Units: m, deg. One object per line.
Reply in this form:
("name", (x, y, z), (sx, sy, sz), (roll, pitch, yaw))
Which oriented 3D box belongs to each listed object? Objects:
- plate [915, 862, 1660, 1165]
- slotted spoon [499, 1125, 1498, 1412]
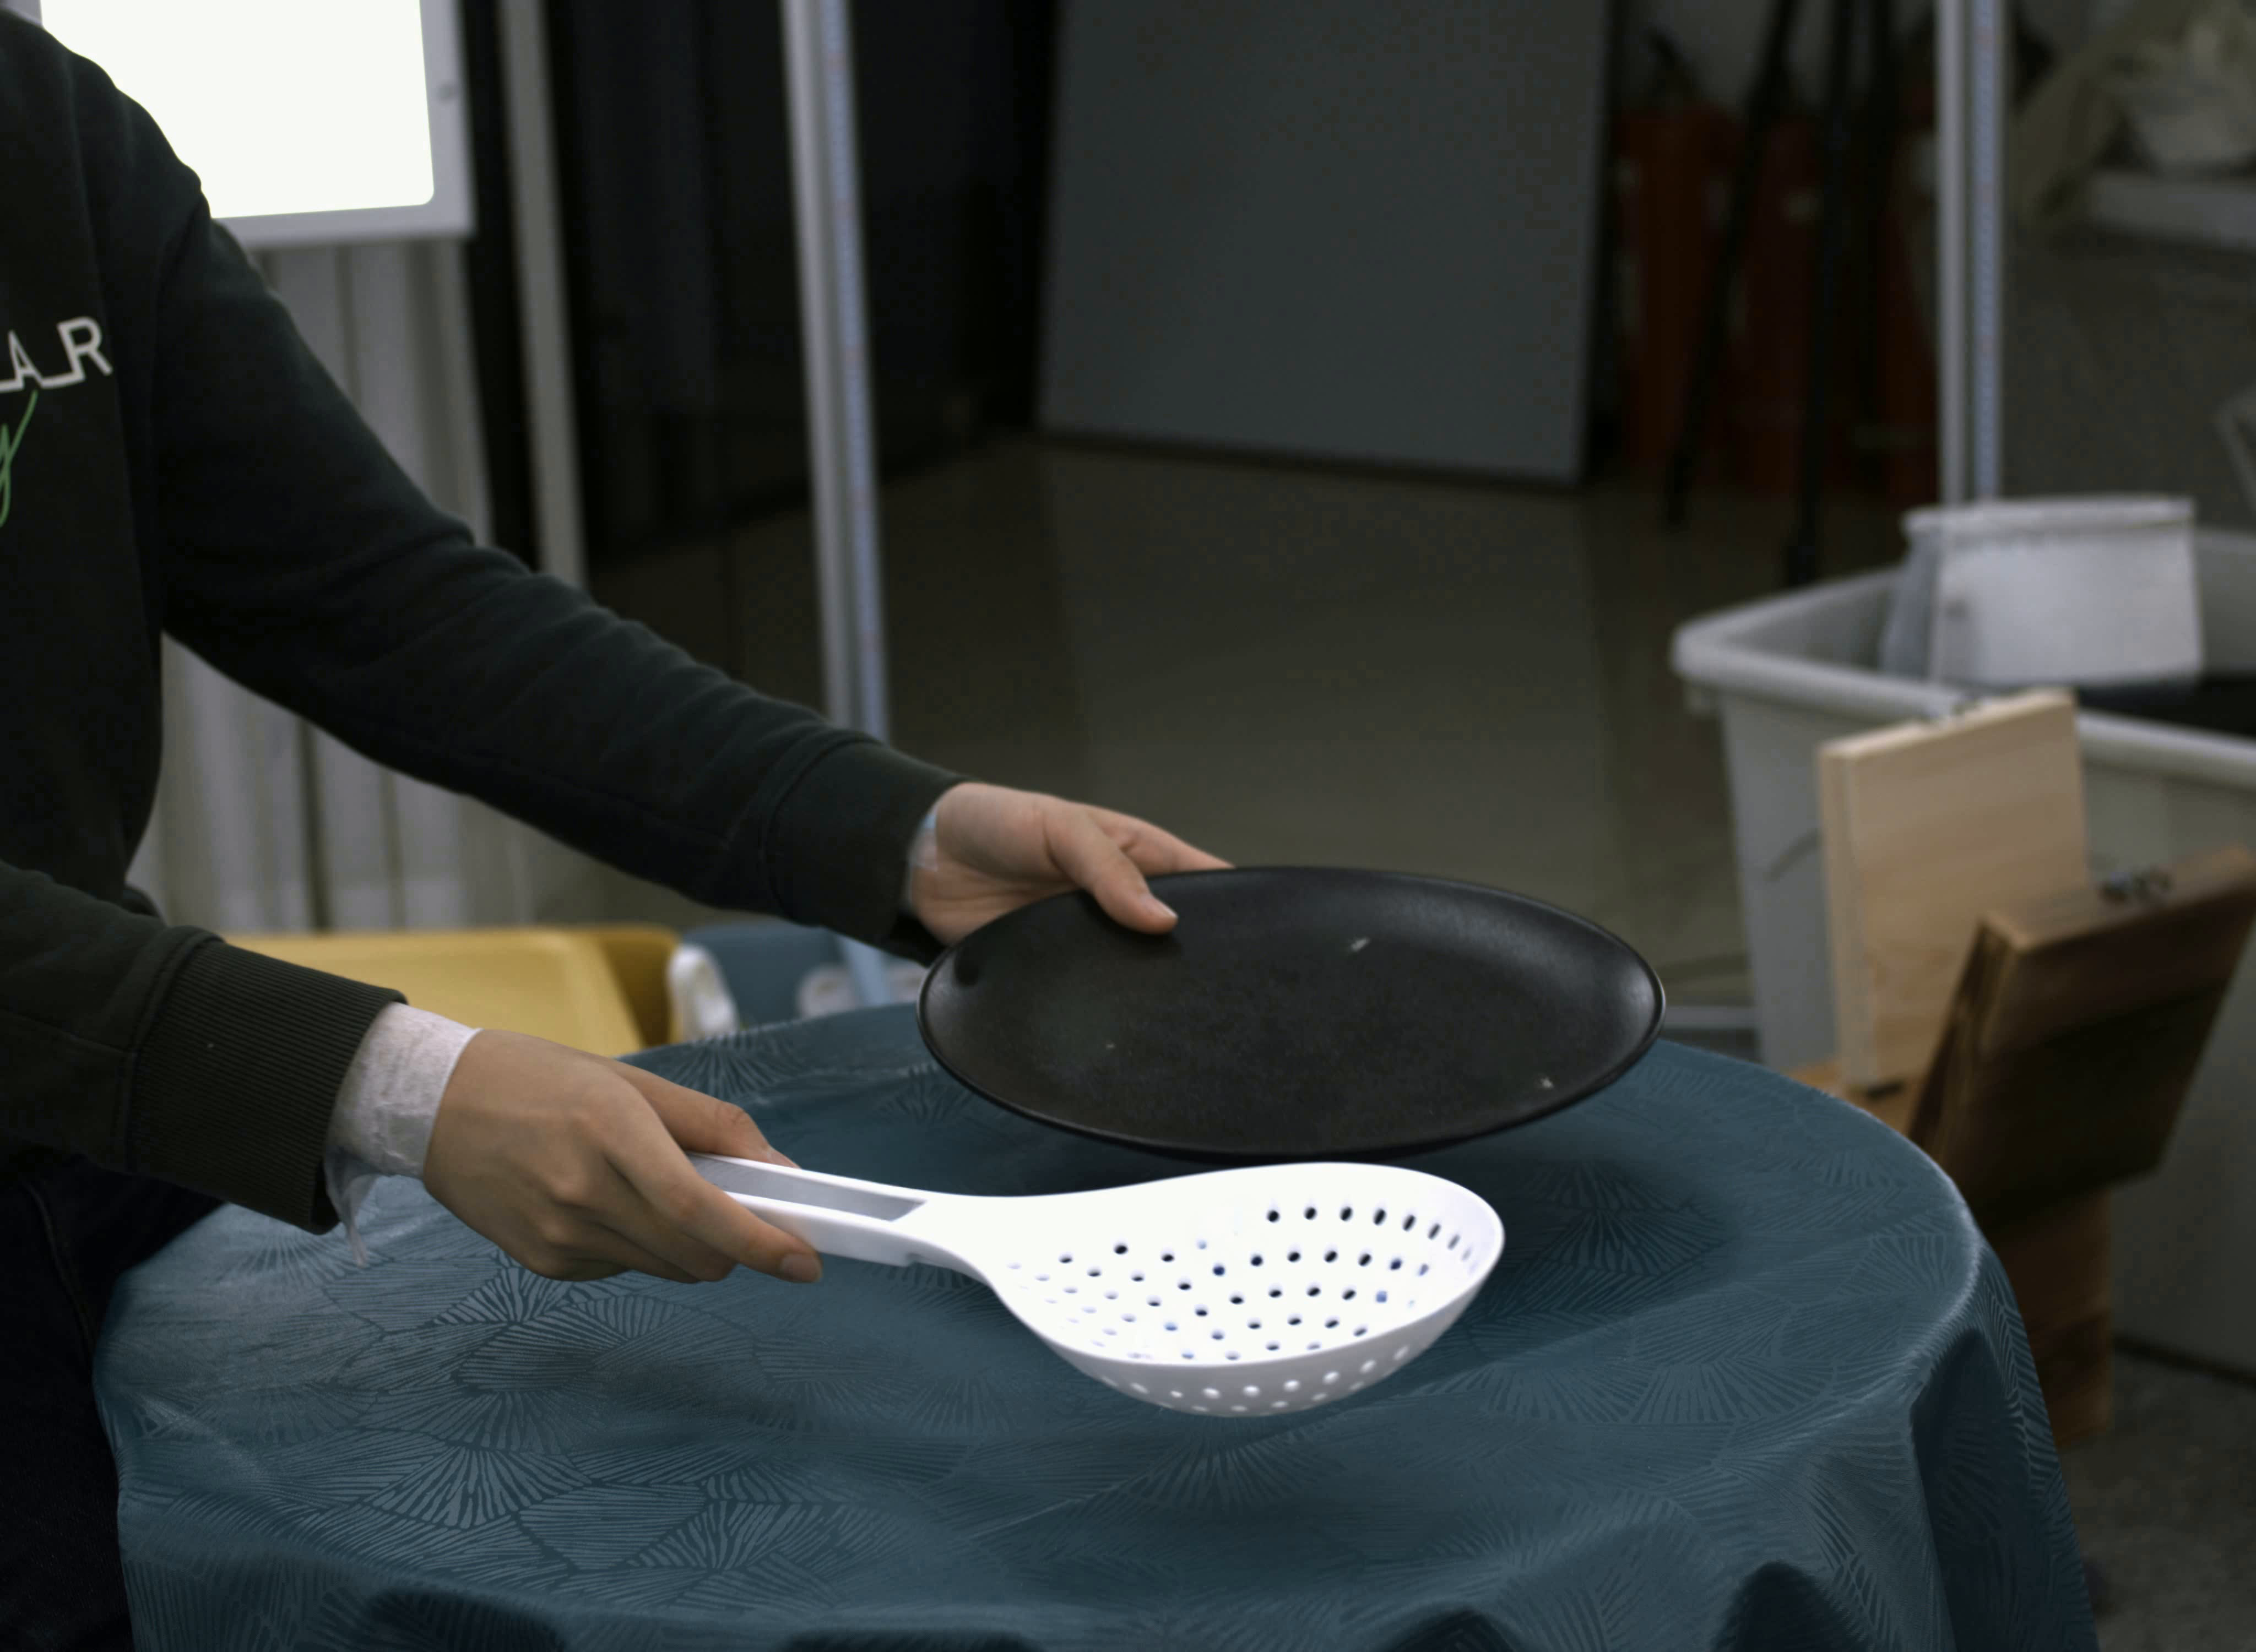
("plate", (0.051, 0.063, 1.737), (0.241, 0.023, 0.245), (-2, 20, 0))
("slotted spoon", (-0.049, 0.116, 1.546), (0.352, 0.046, 0.134), (11, 26, 37))
